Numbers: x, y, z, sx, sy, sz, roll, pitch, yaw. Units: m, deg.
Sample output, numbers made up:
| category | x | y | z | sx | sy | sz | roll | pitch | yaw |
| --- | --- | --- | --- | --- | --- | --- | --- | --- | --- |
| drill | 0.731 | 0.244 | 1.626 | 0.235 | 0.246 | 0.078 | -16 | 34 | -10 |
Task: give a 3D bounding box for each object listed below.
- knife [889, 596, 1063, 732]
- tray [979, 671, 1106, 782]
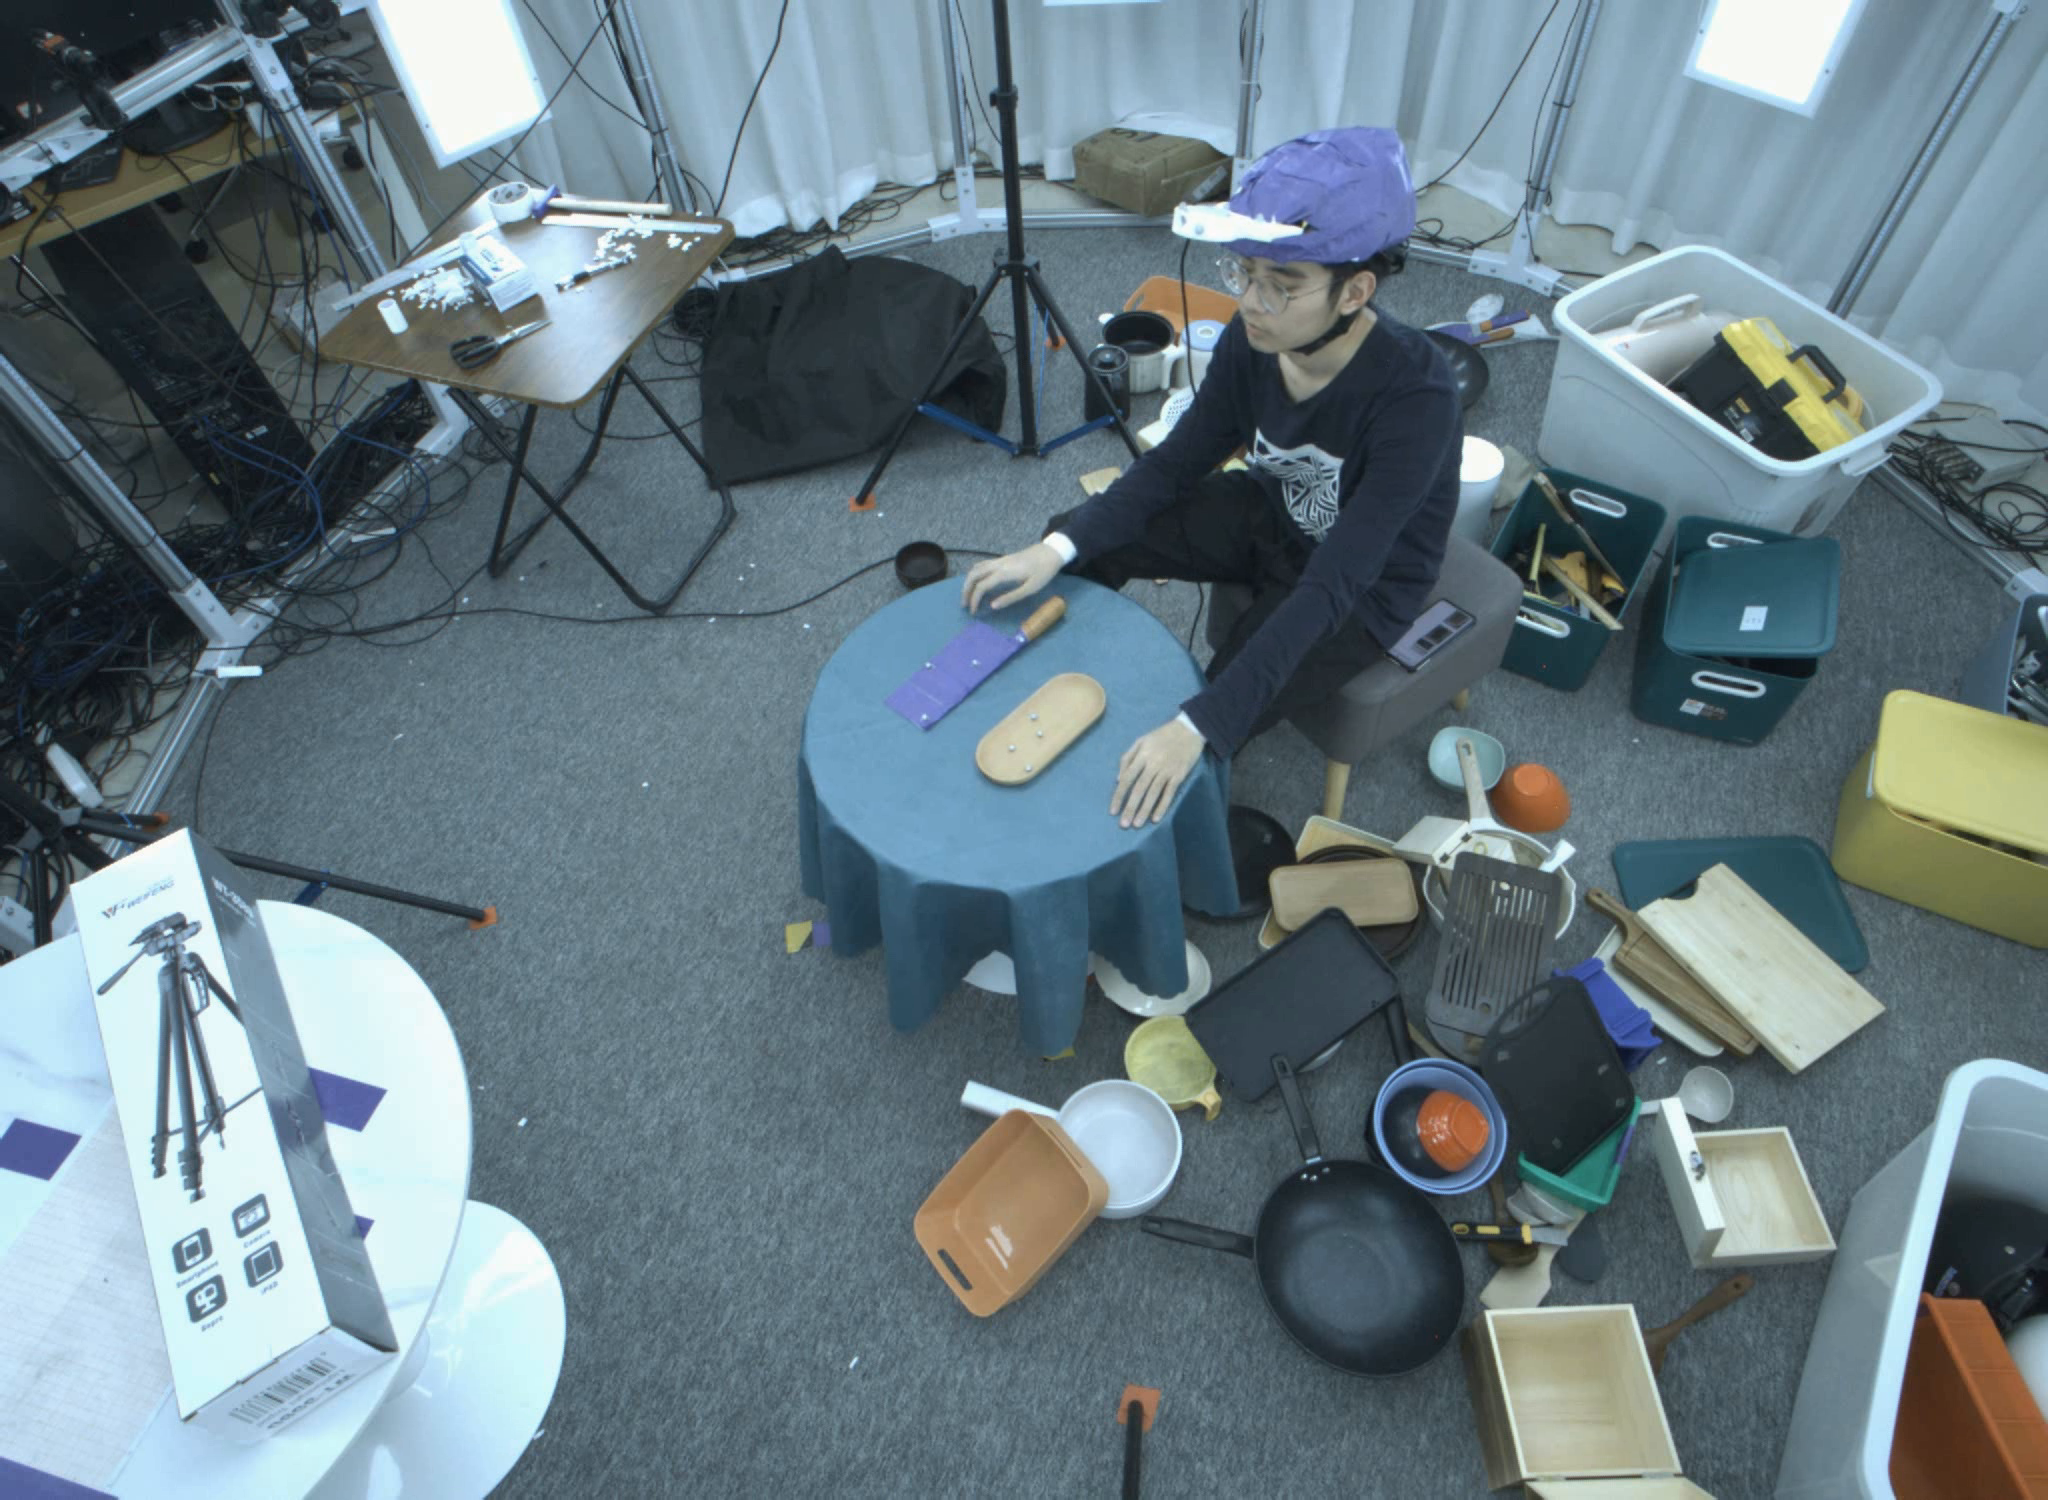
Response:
| category | x | y | z | sx | sy | sz | roll | pitch | yaw |
| --- | --- | --- | --- | --- | --- | --- | --- | --- | --- |
| knife | -0.075 | -0.150 | 1.888 | 0.102 | 0.032 | 0.317 | 36 | 63 | 23 |
| tray | 0.029 | -0.035 | 1.810 | 0.100 | 0.020 | 0.233 | 36 | 61 | 23 |
